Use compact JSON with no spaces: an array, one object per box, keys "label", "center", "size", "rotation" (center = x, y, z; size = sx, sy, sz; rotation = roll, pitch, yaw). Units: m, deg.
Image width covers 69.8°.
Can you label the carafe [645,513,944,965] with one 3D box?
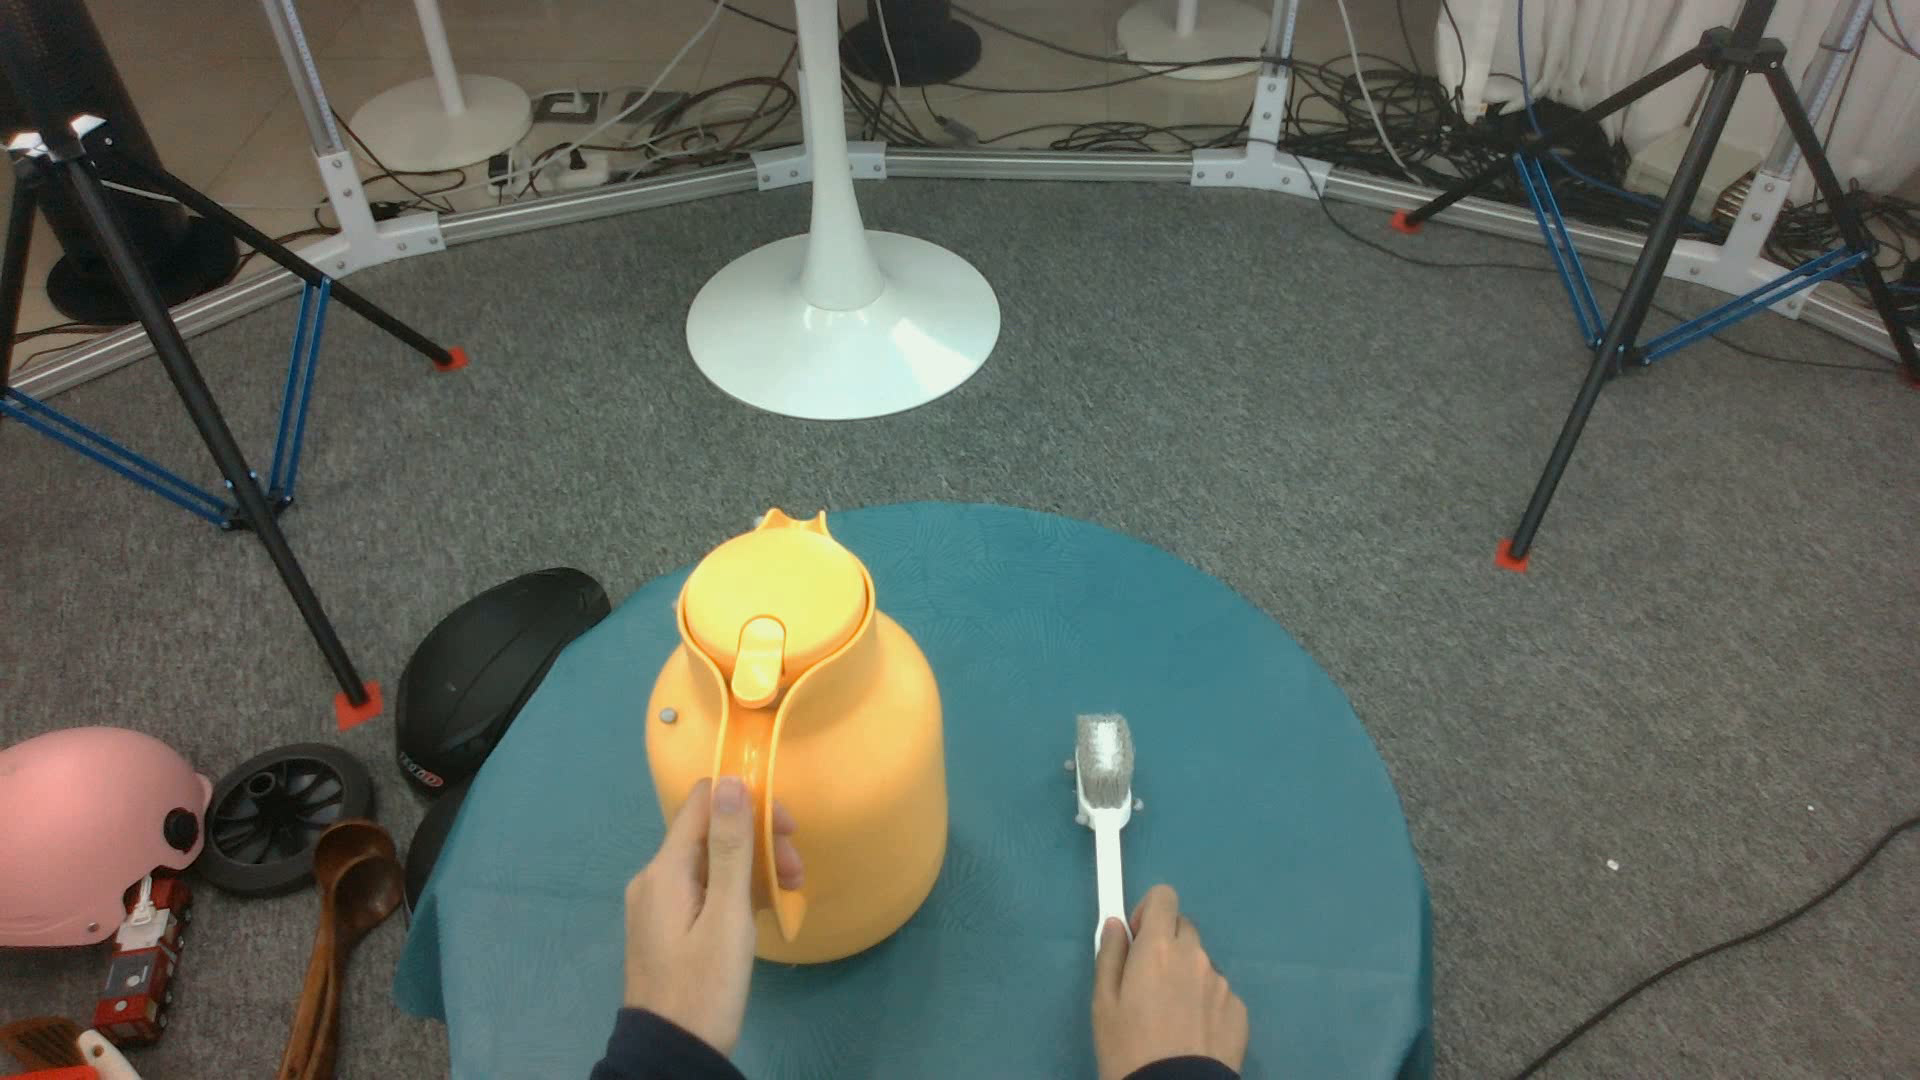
[{"label":"carafe","center":[-0.096,0.126,0.759],"size":[0.163,0.259,0.203],"rotation":[2,44,5]}]

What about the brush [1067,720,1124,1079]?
[{"label":"brush","center":[0.081,0.211,0.825],"size":[0.034,0.050,0.245],"rotation":[4,45,1]}]
